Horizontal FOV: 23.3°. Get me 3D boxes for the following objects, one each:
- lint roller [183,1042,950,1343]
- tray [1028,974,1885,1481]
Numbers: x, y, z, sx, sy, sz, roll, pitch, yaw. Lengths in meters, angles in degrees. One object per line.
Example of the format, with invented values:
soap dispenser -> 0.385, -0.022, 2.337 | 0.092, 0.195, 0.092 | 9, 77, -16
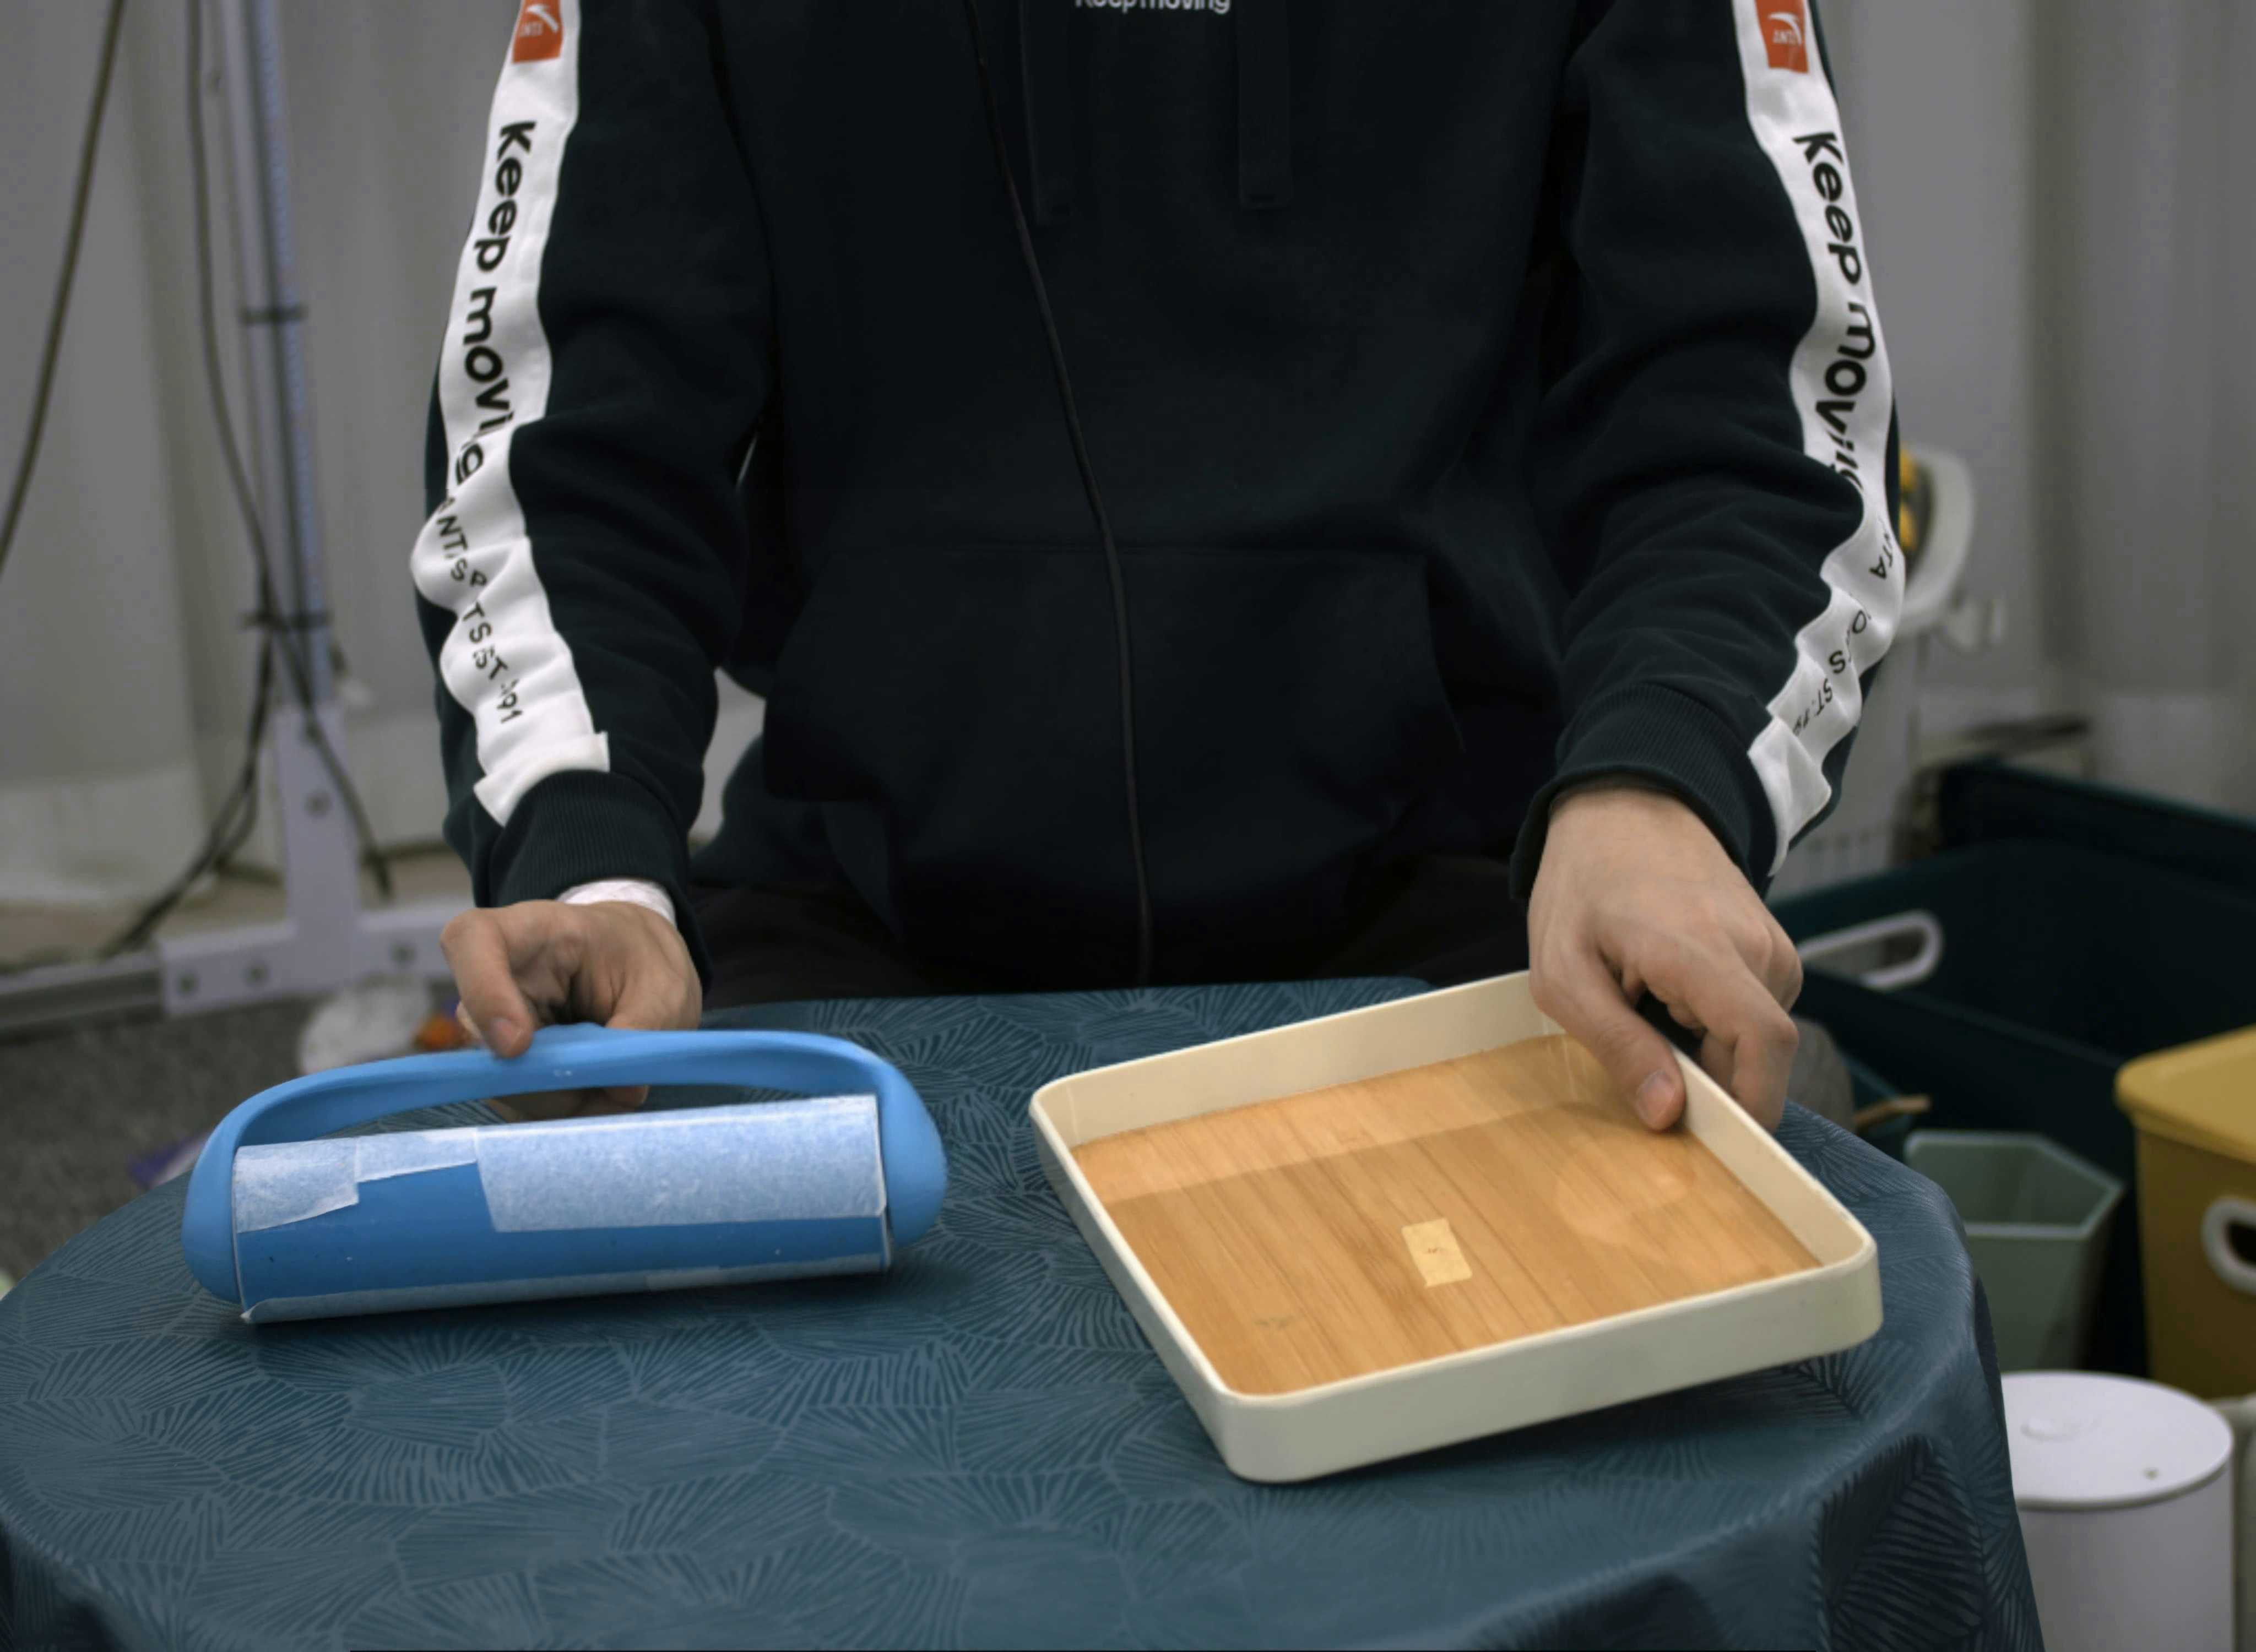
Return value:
lint roller -> -0.175, 0.098, 1.688 | 0.228, 0.067, 0.182 | -7, 19, -5
tray -> 0.089, 0.113, 1.614 | 0.191, 0.027, 0.302 | -12, 16, -9
